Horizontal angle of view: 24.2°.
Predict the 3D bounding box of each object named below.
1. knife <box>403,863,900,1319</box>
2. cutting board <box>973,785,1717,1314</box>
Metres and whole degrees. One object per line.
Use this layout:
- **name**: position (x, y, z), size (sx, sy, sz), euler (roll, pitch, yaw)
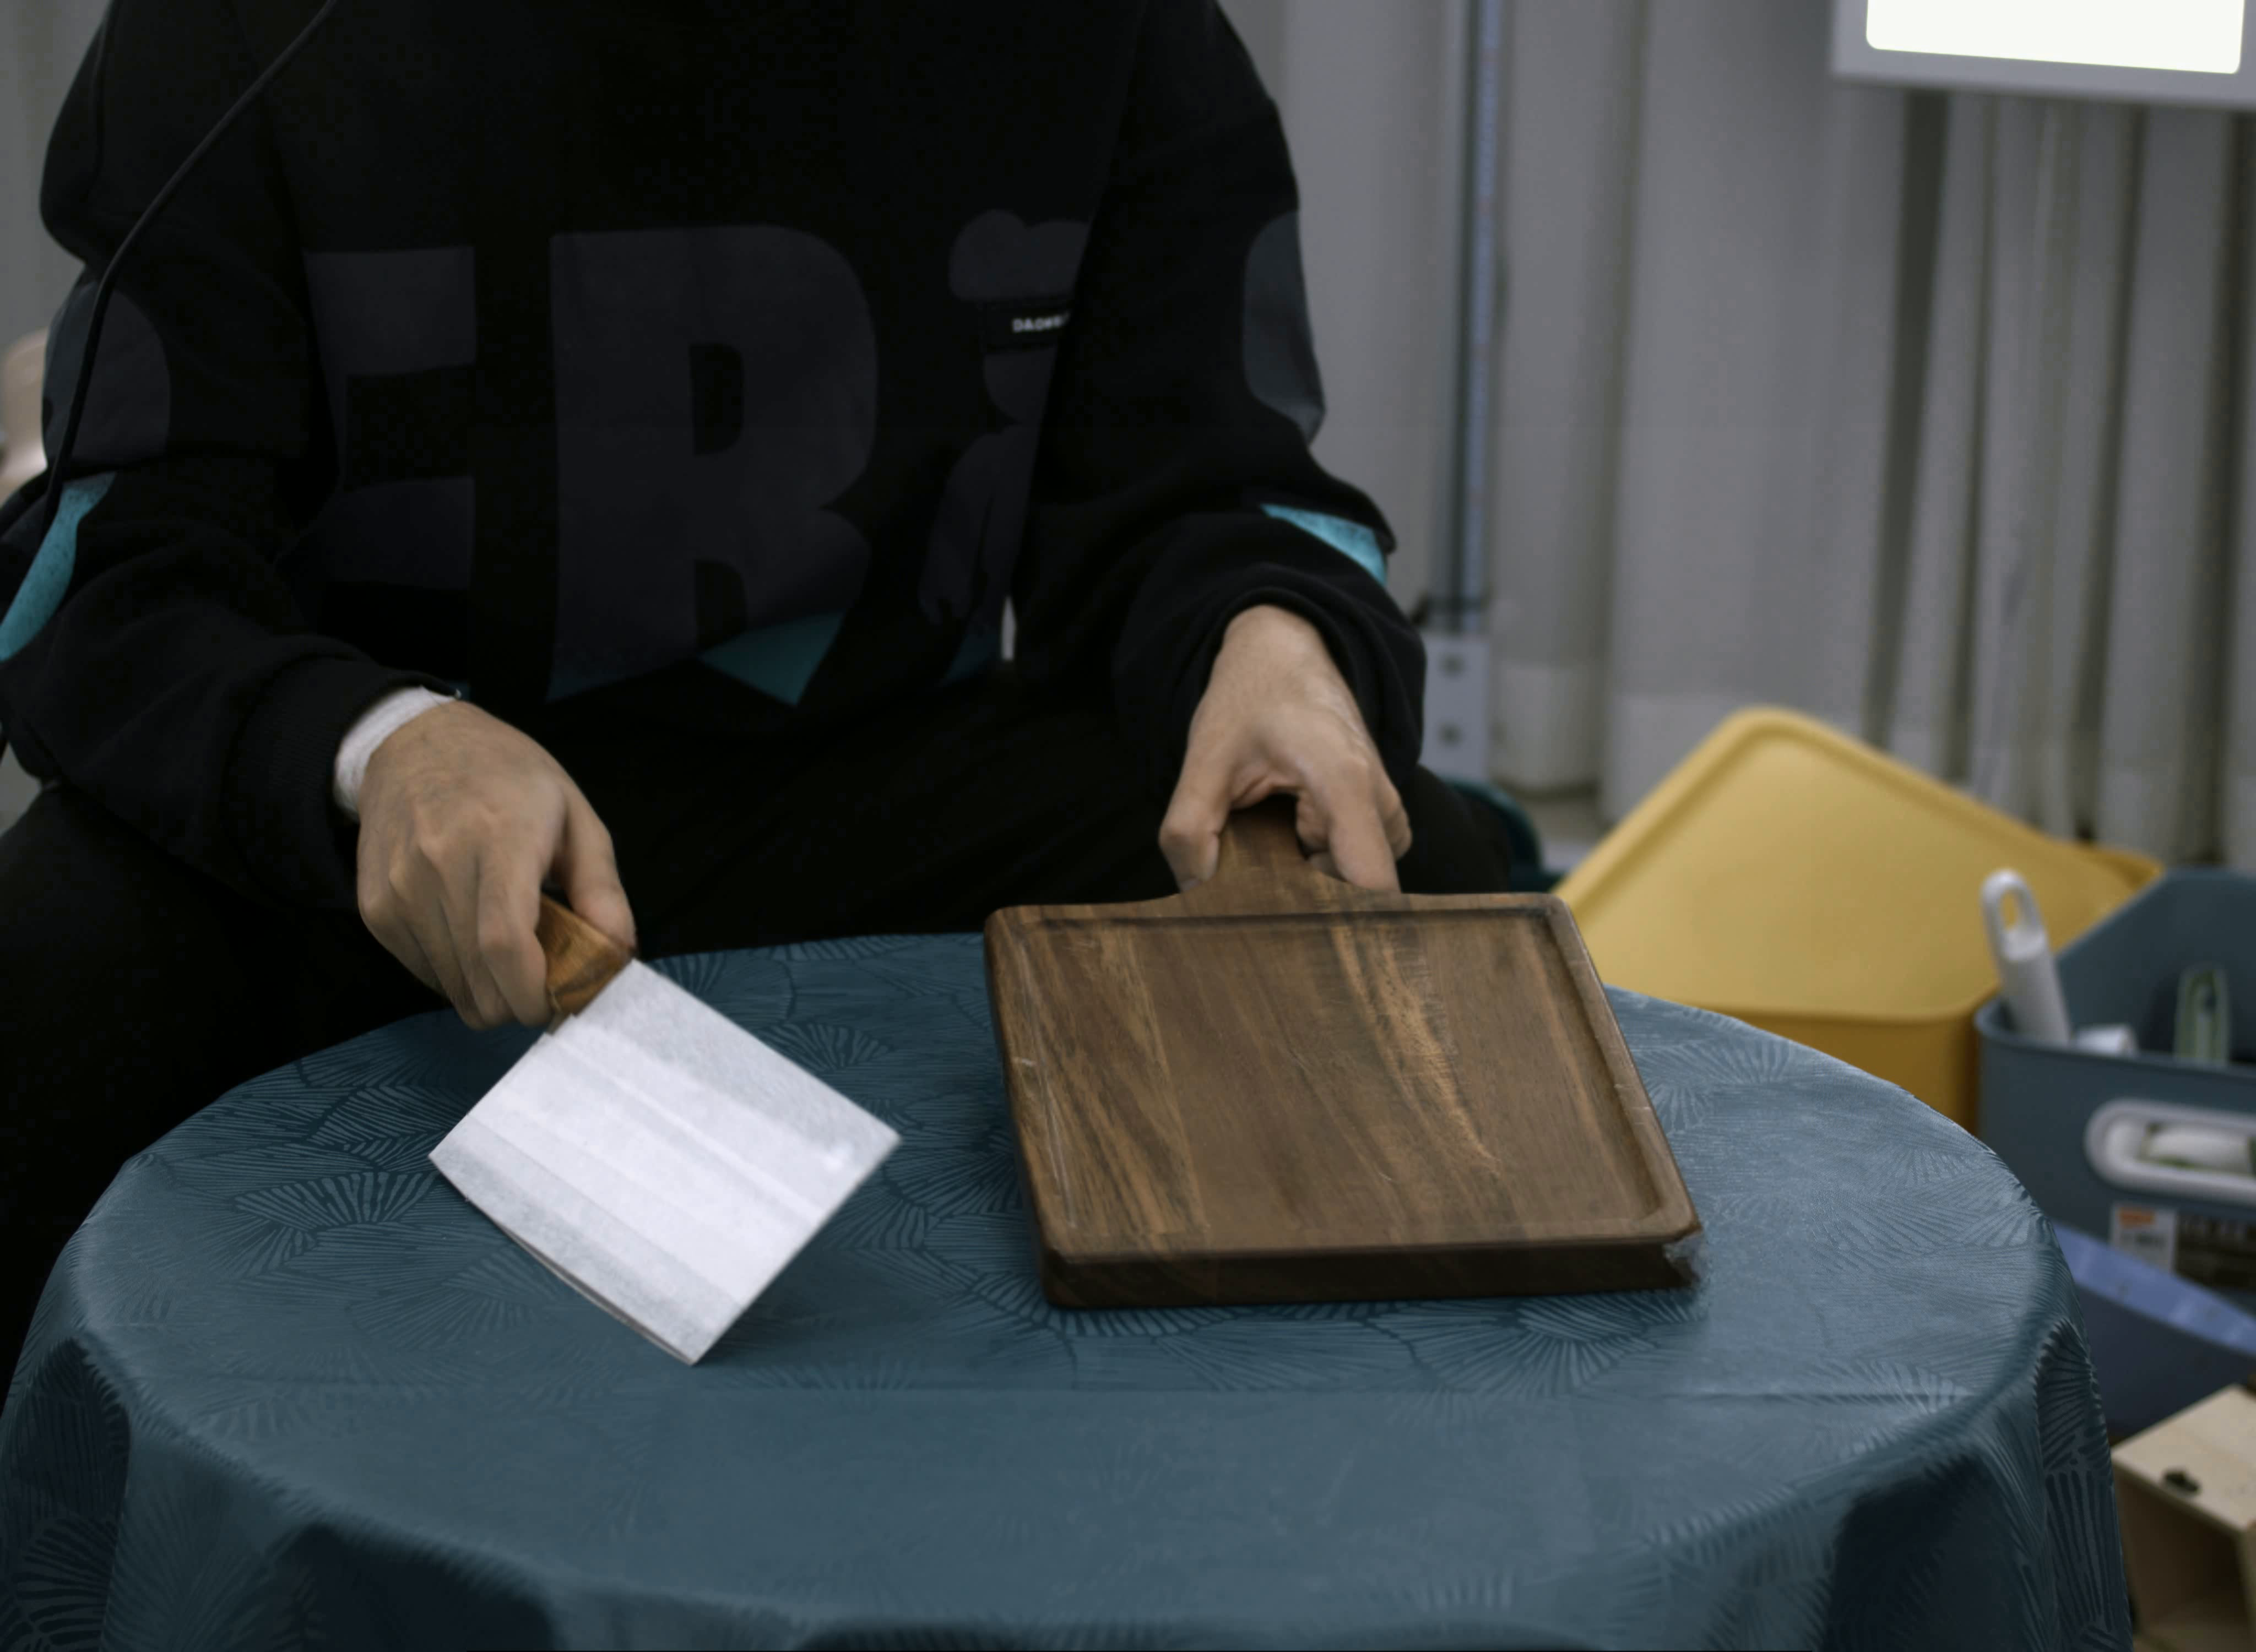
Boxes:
- **knife**: position (-0.167, 0.081, 1.608), size (0.093, 0.021, 0.302), euler (-46, 33, -11)
- **cutting board**: position (0.056, 0.062, 1.684), size (0.201, 0.023, 0.349), euler (-1, 23, -7)
